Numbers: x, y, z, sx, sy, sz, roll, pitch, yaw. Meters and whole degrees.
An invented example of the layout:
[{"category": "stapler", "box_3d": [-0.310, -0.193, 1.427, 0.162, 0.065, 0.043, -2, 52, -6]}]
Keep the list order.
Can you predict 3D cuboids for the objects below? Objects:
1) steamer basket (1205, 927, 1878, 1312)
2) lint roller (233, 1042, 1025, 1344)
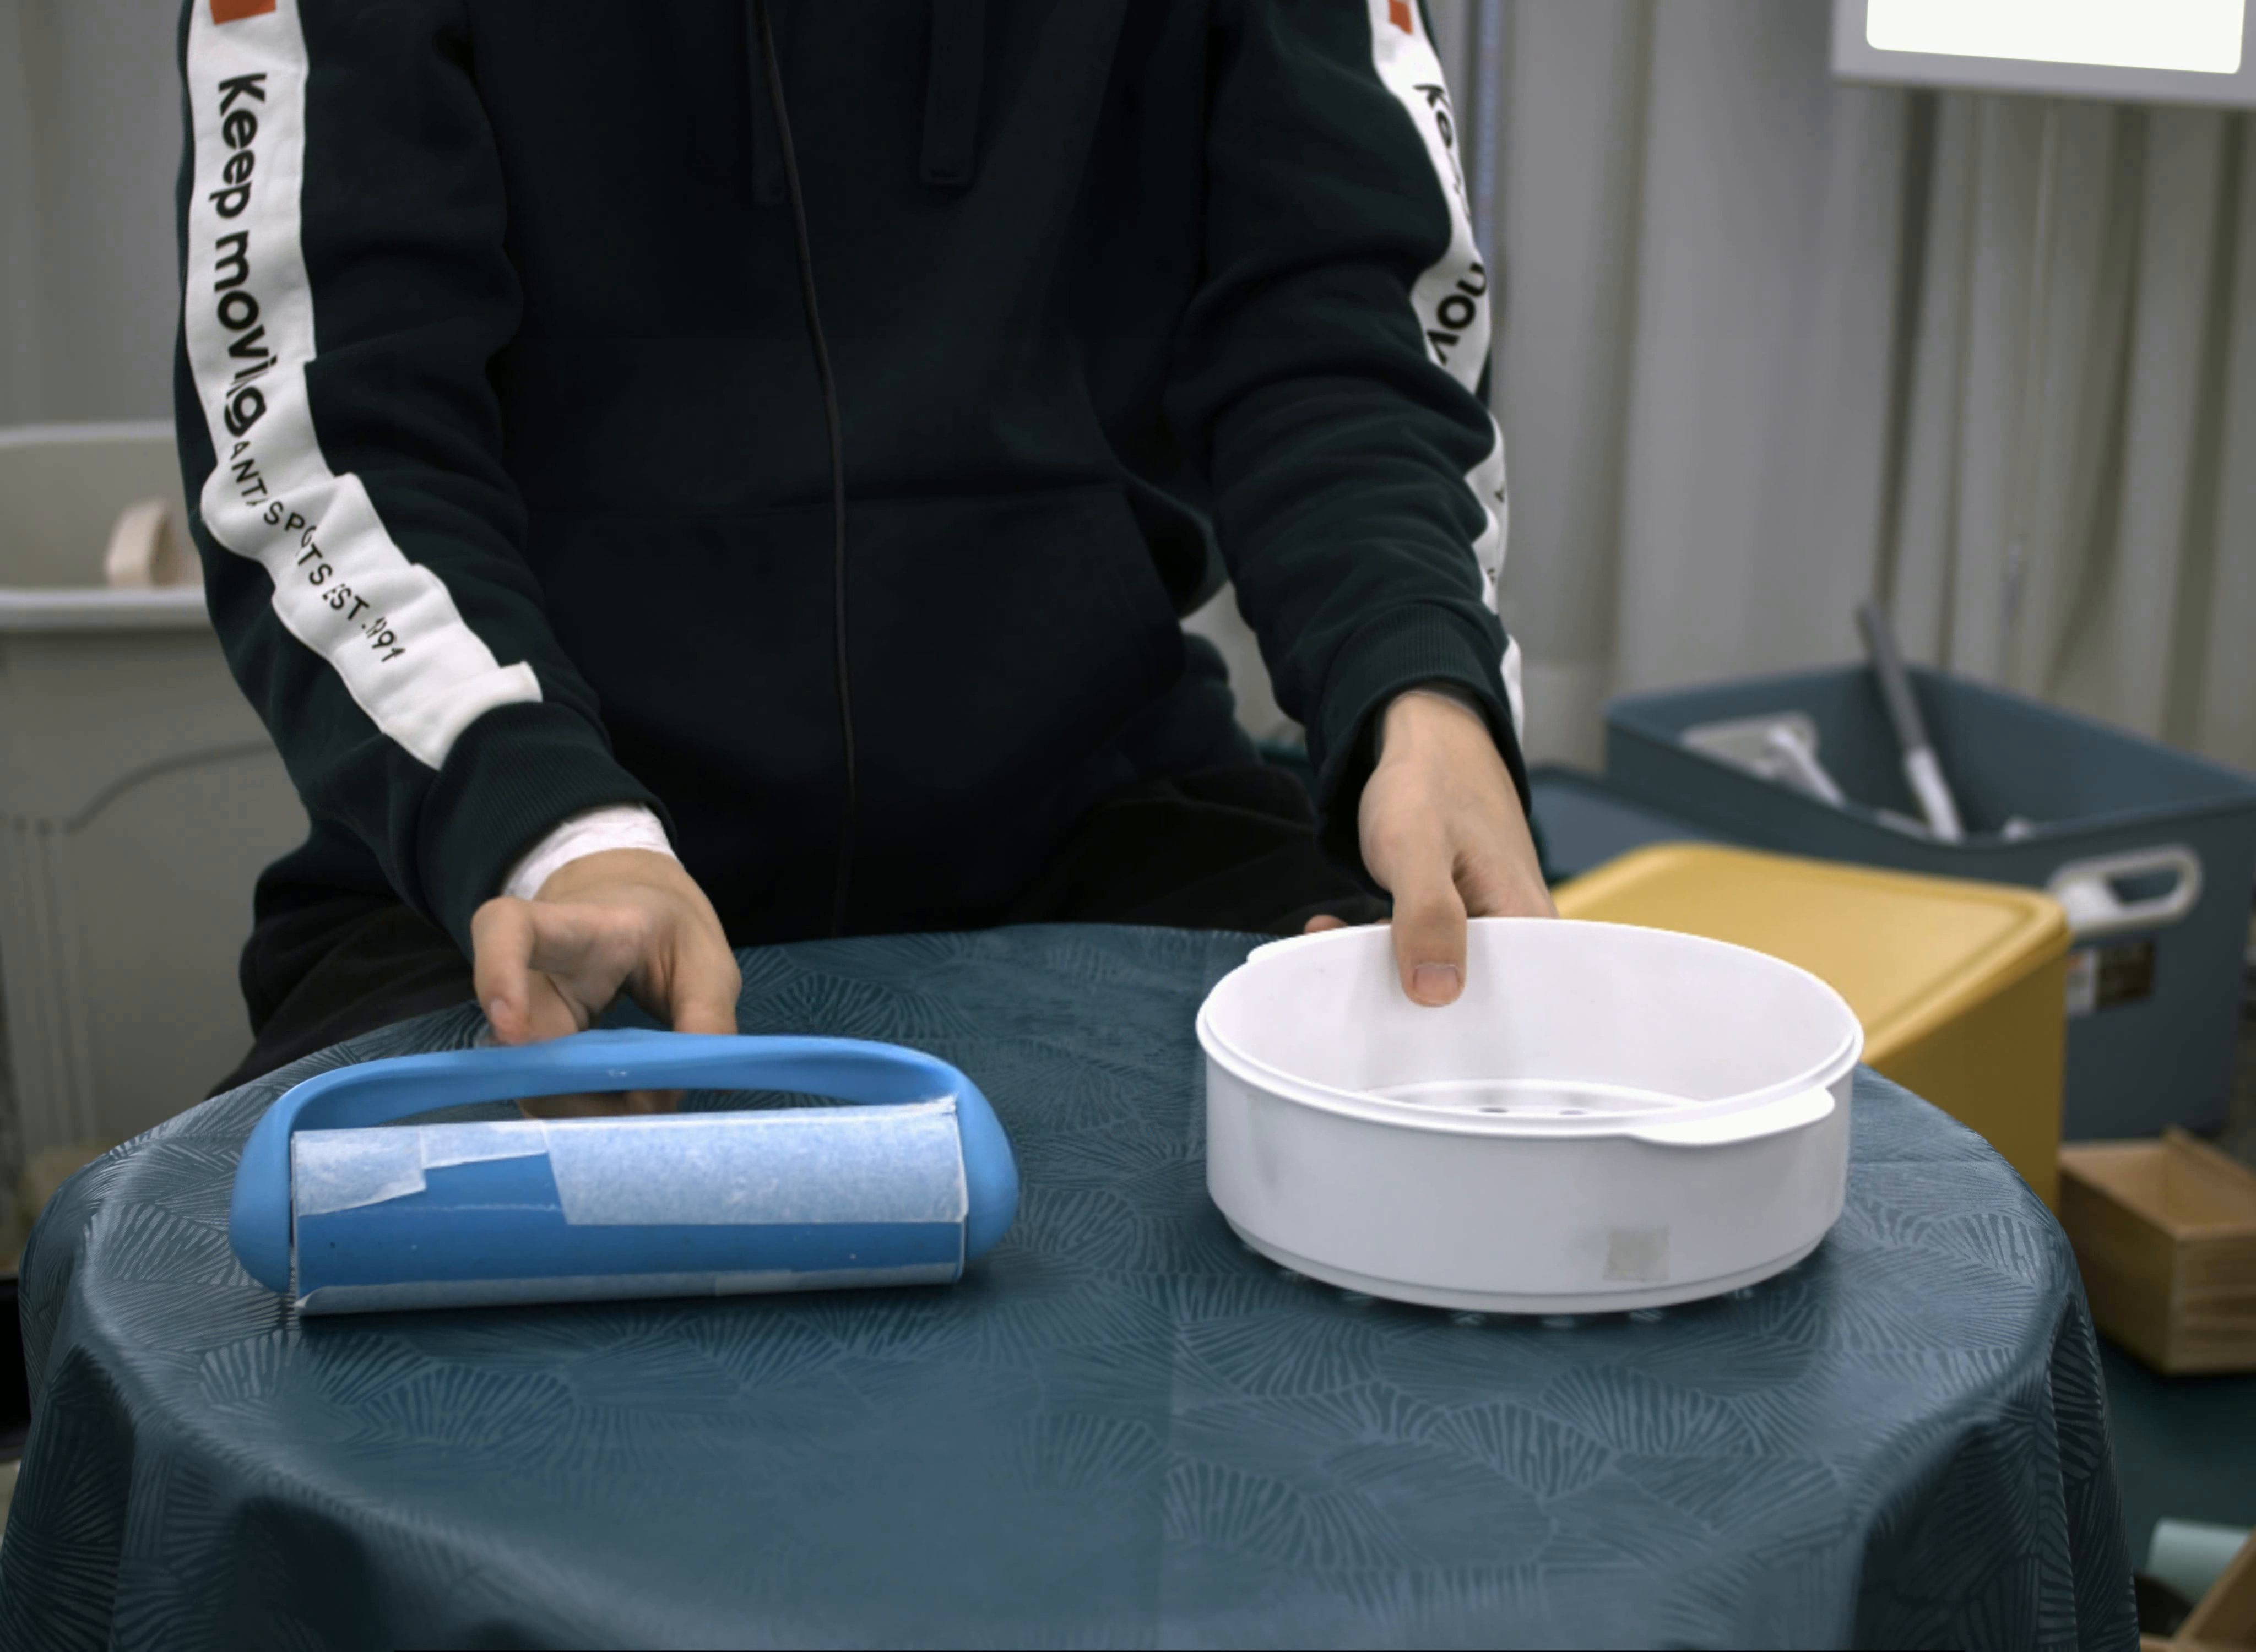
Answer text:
[{"category": "steamer basket", "box_3d": [0.123, 0.088, 1.582, 0.203, 0.070, 0.227, -9, 17, -33]}, {"category": "lint roller", "box_3d": [-0.156, 0.096, 1.574, 0.229, 0.068, 0.178, -6, 18, -13]}]
